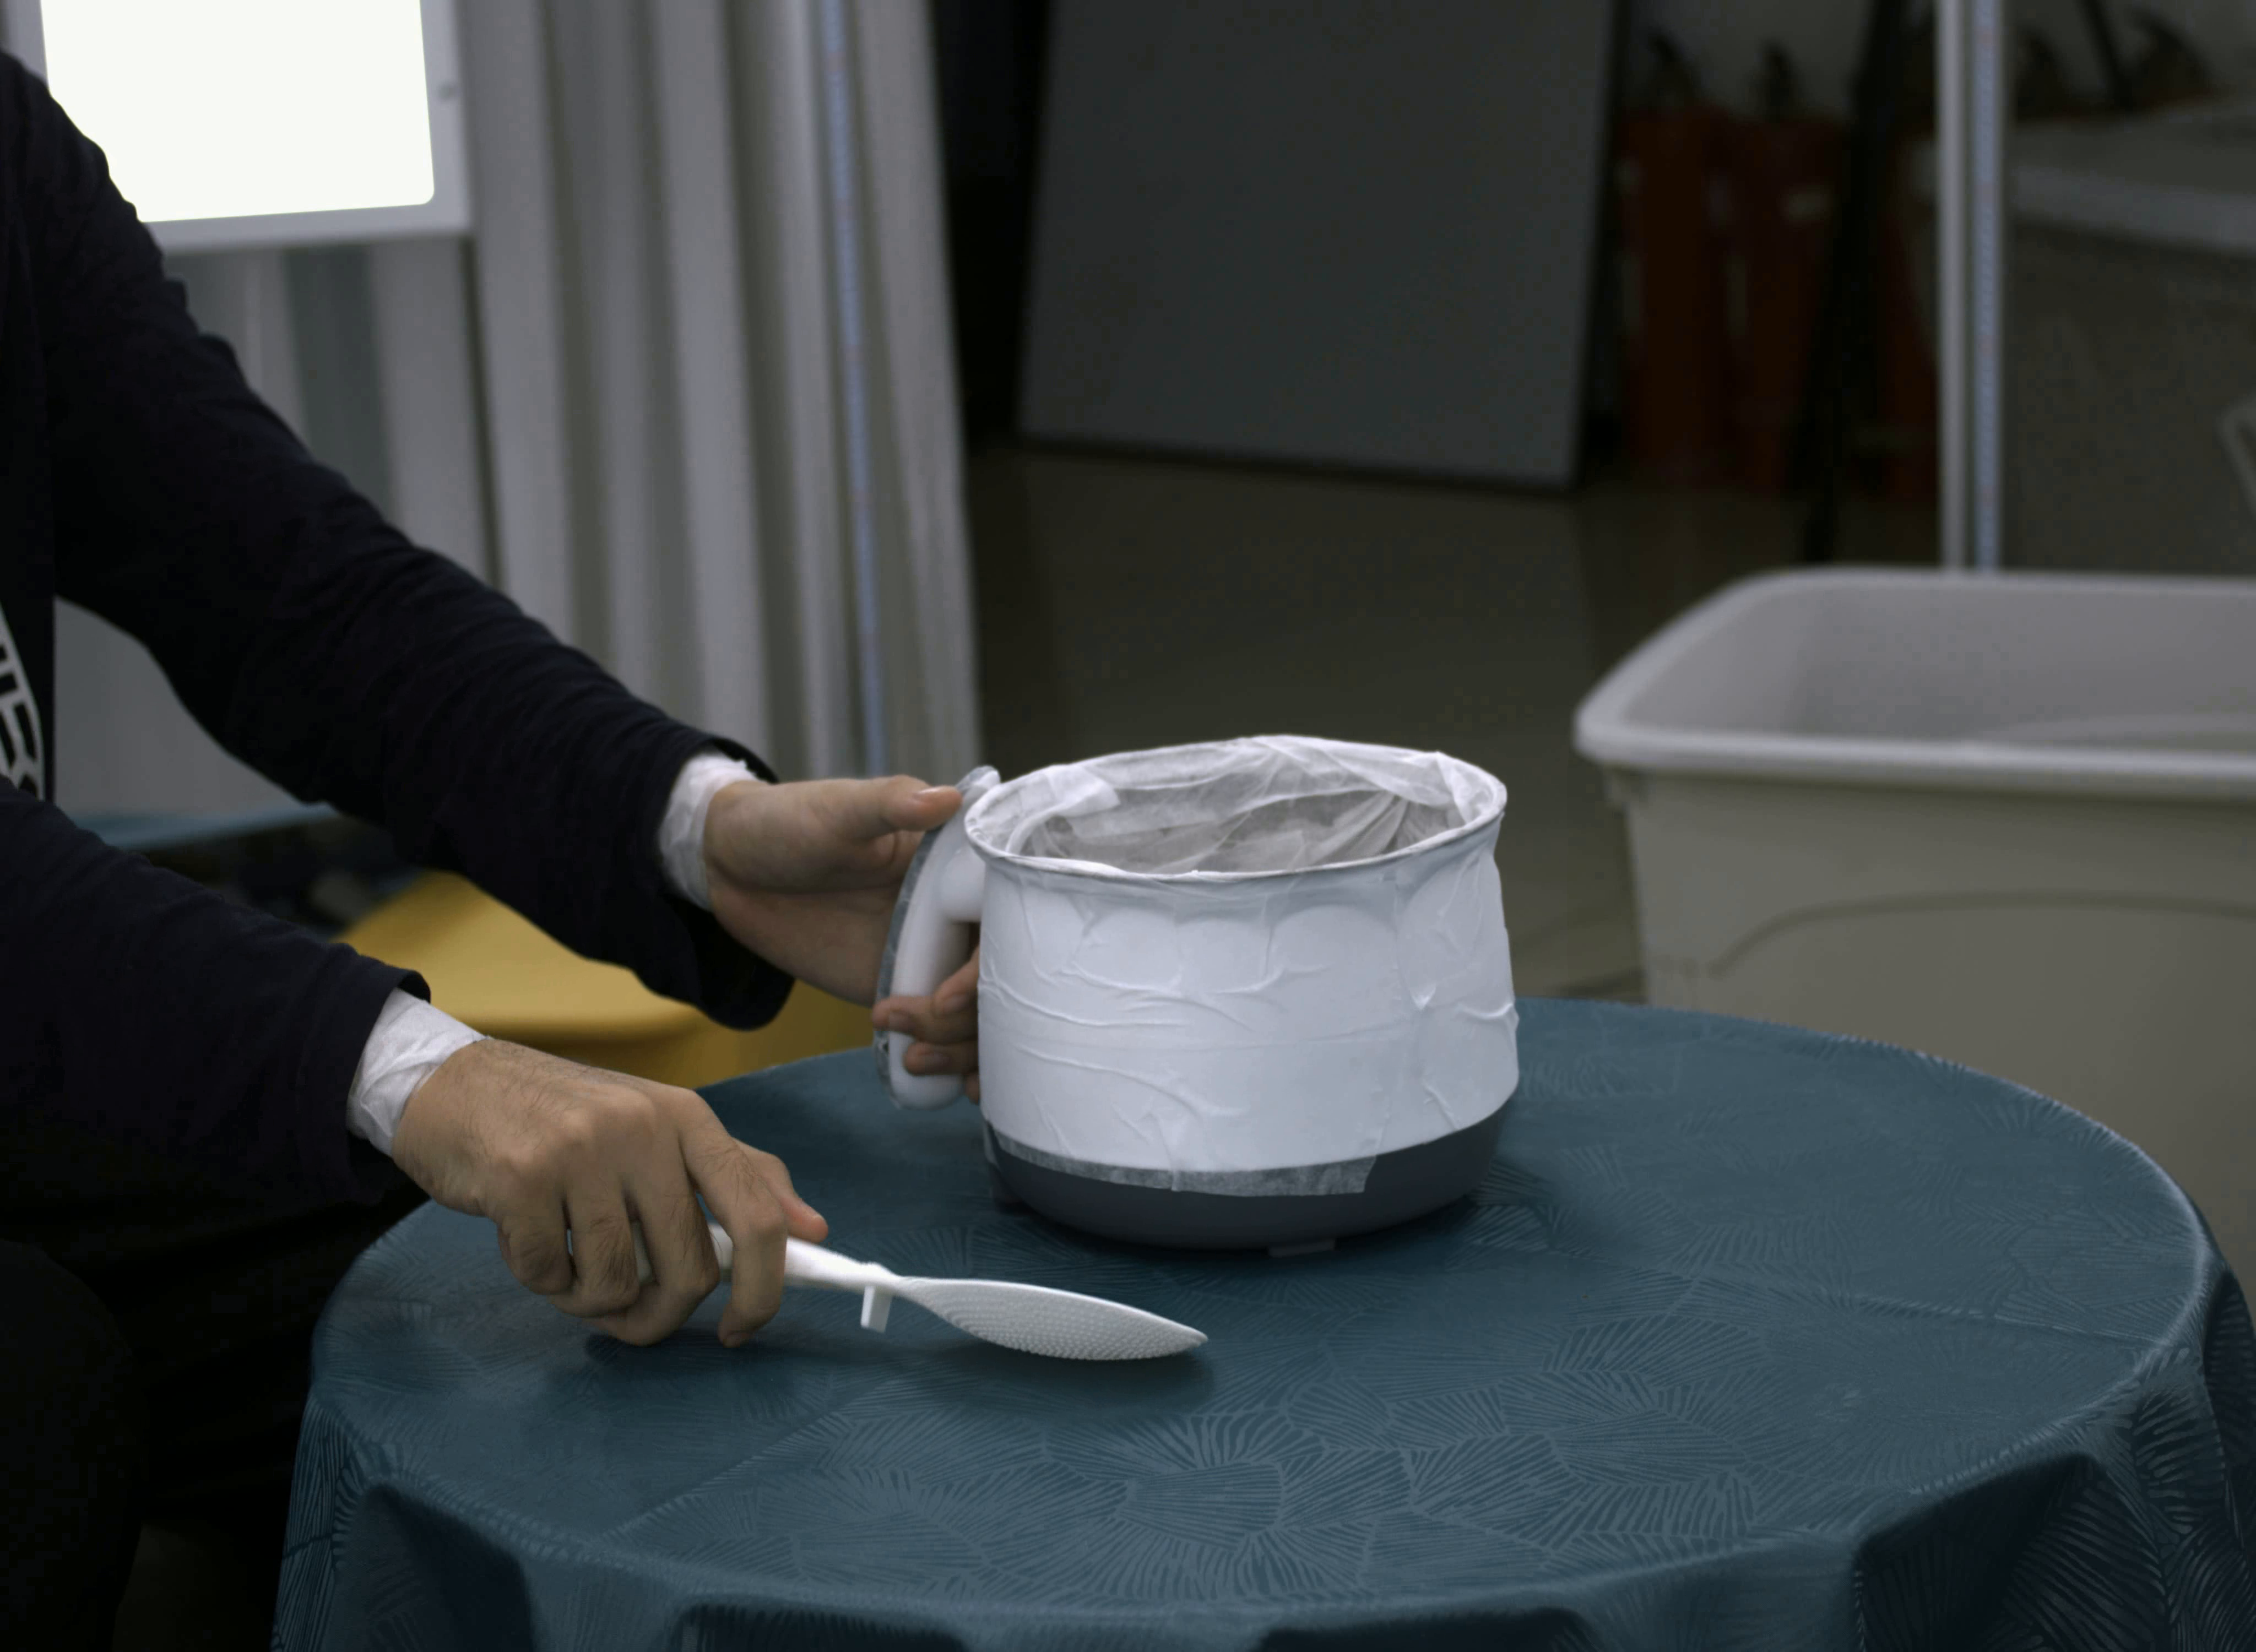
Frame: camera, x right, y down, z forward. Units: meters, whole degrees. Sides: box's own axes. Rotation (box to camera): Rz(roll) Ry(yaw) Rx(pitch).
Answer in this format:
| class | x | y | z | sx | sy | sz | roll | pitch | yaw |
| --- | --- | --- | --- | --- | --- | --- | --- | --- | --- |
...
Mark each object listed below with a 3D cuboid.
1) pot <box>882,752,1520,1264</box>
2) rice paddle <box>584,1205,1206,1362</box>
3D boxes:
| class | x | y | z | sx | sy | sz | roll | pitch | yaw |
| --- | --- | --- | --- | --- | --- | --- | --- | --- | --- |
| pot | 0.016 | 0.056 | 1.765 | 0.235 | 0.138 | 0.175 | 3 | 13 | 34 |
| rice paddle | -0.069 | 0.140 | 1.632 | 0.205 | 0.030 | 0.068 | 5 | -15 | 26 |
